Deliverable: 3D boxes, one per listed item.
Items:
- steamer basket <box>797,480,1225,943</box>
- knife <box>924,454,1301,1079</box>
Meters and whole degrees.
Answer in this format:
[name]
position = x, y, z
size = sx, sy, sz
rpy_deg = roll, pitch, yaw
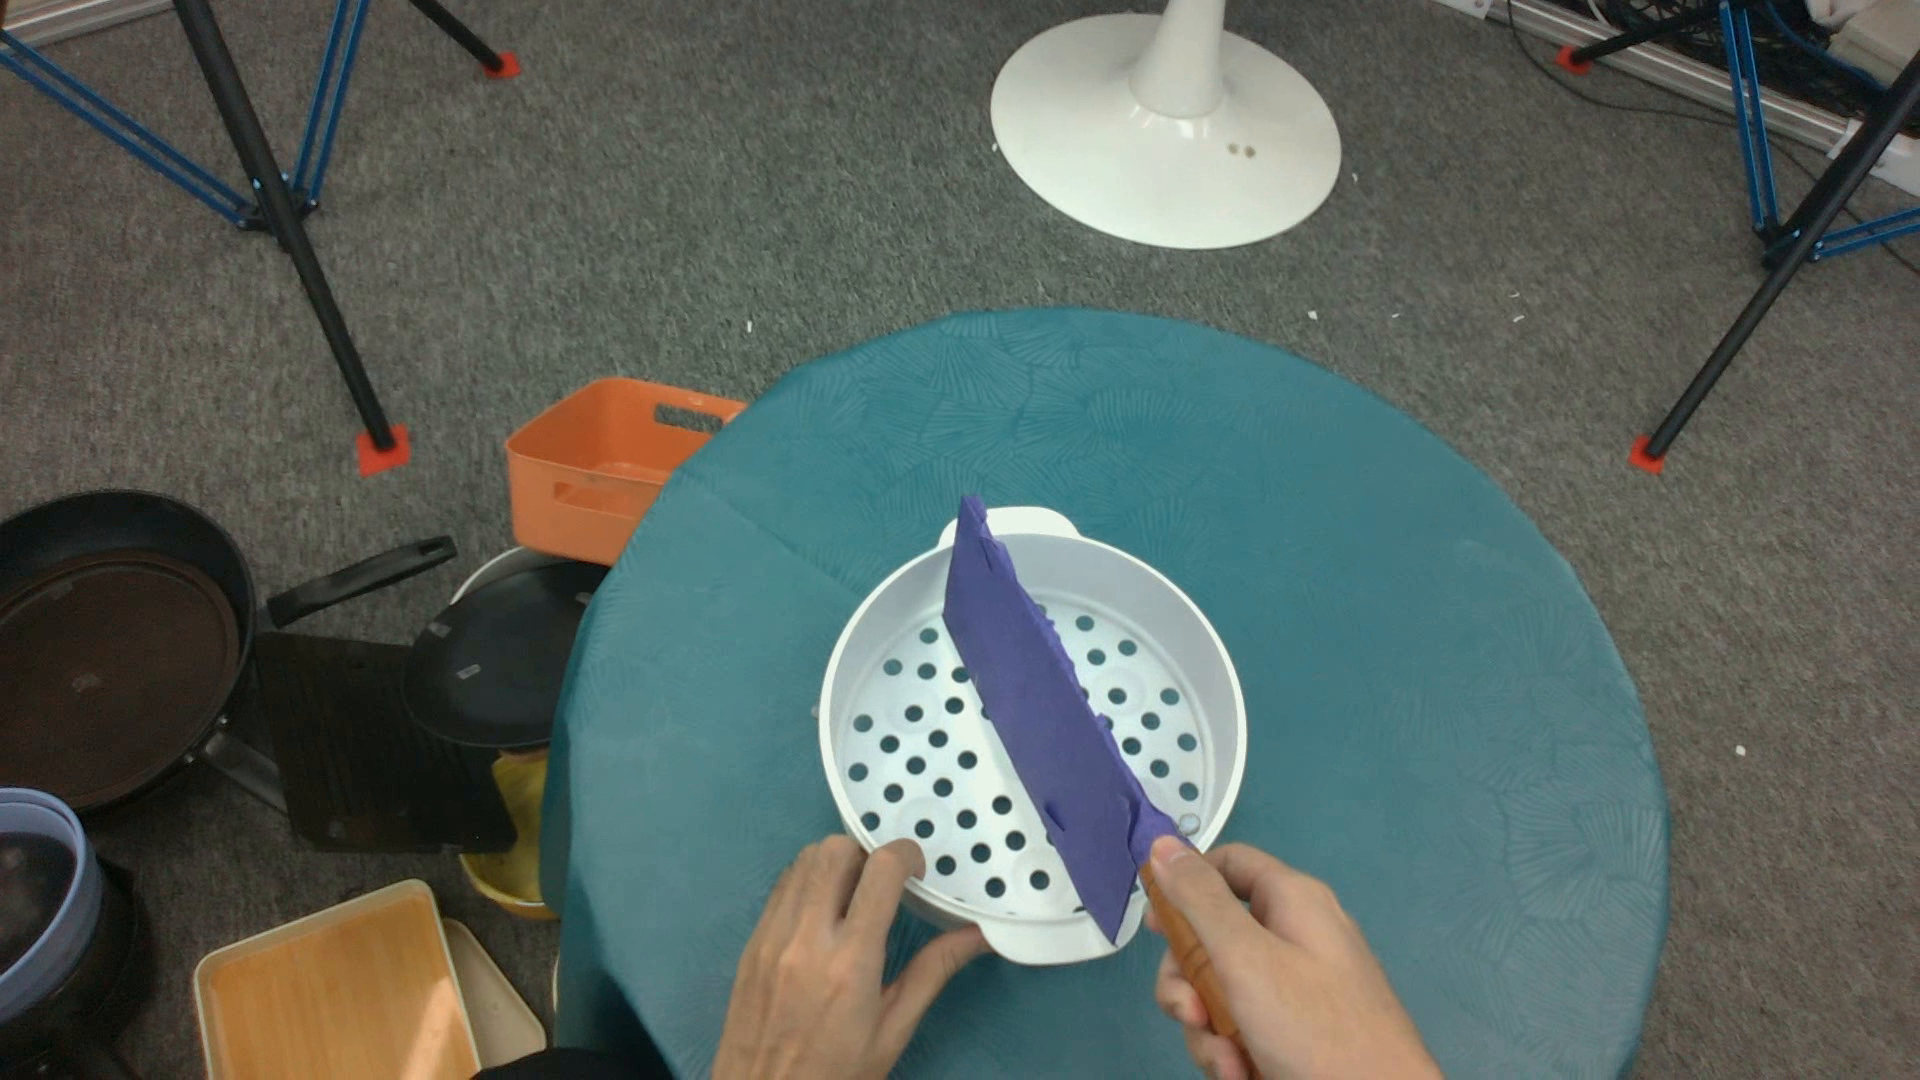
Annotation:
[steamer basket]
position = 0.023, 0.084, 0.672
size = 0.202, 0.069, 0.231
rpy_deg = -5, 62, -5
[knife]
position = 0.047, 0.097, 0.586
size = 0.032, 0.103, 0.316
rpy_deg = -8, 44, -19
